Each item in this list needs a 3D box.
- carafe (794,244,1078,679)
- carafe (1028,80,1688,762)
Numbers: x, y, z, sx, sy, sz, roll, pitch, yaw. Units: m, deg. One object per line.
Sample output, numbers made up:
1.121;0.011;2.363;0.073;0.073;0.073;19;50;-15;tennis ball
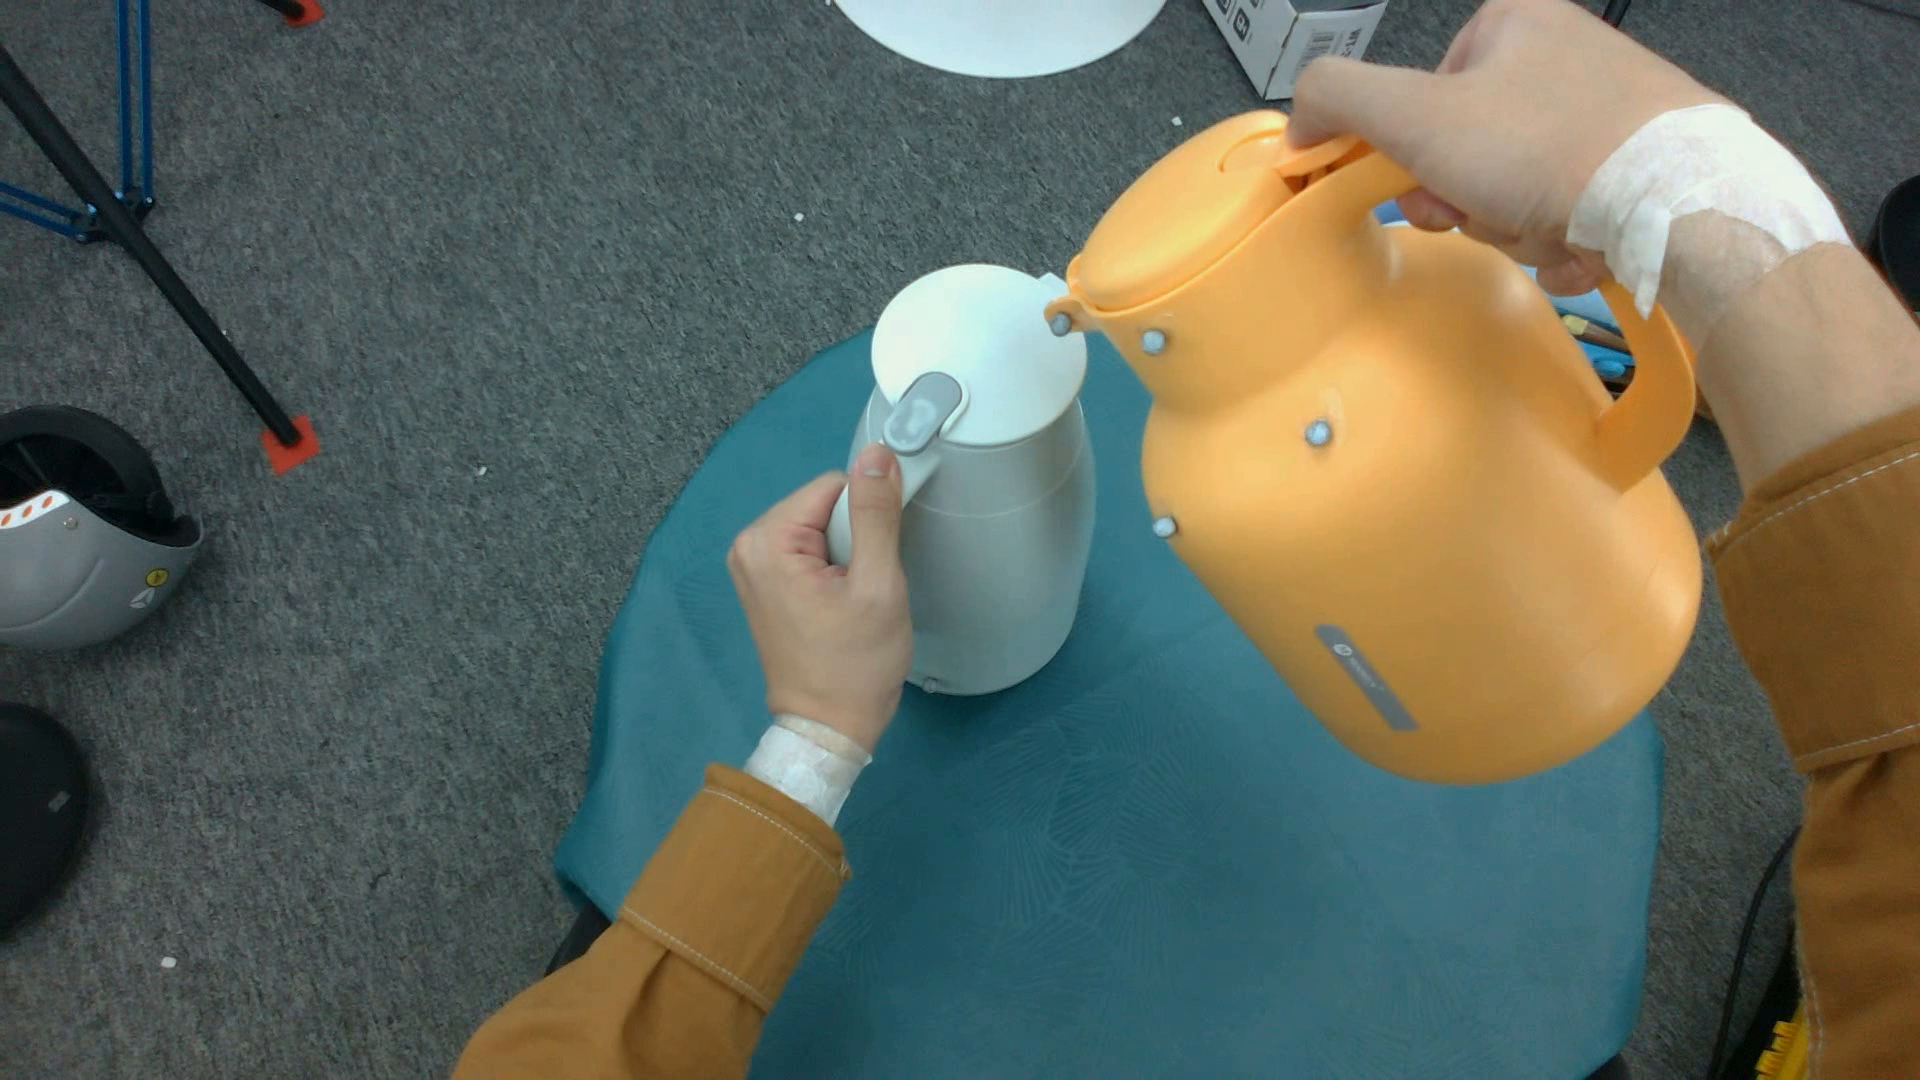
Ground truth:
-0.015;-0.022;0.674;0.132;0.247;0.168;36;68;14;carafe
0.160;-0.046;0.509;0.260;0.201;0.164;43;55;-24;carafe
